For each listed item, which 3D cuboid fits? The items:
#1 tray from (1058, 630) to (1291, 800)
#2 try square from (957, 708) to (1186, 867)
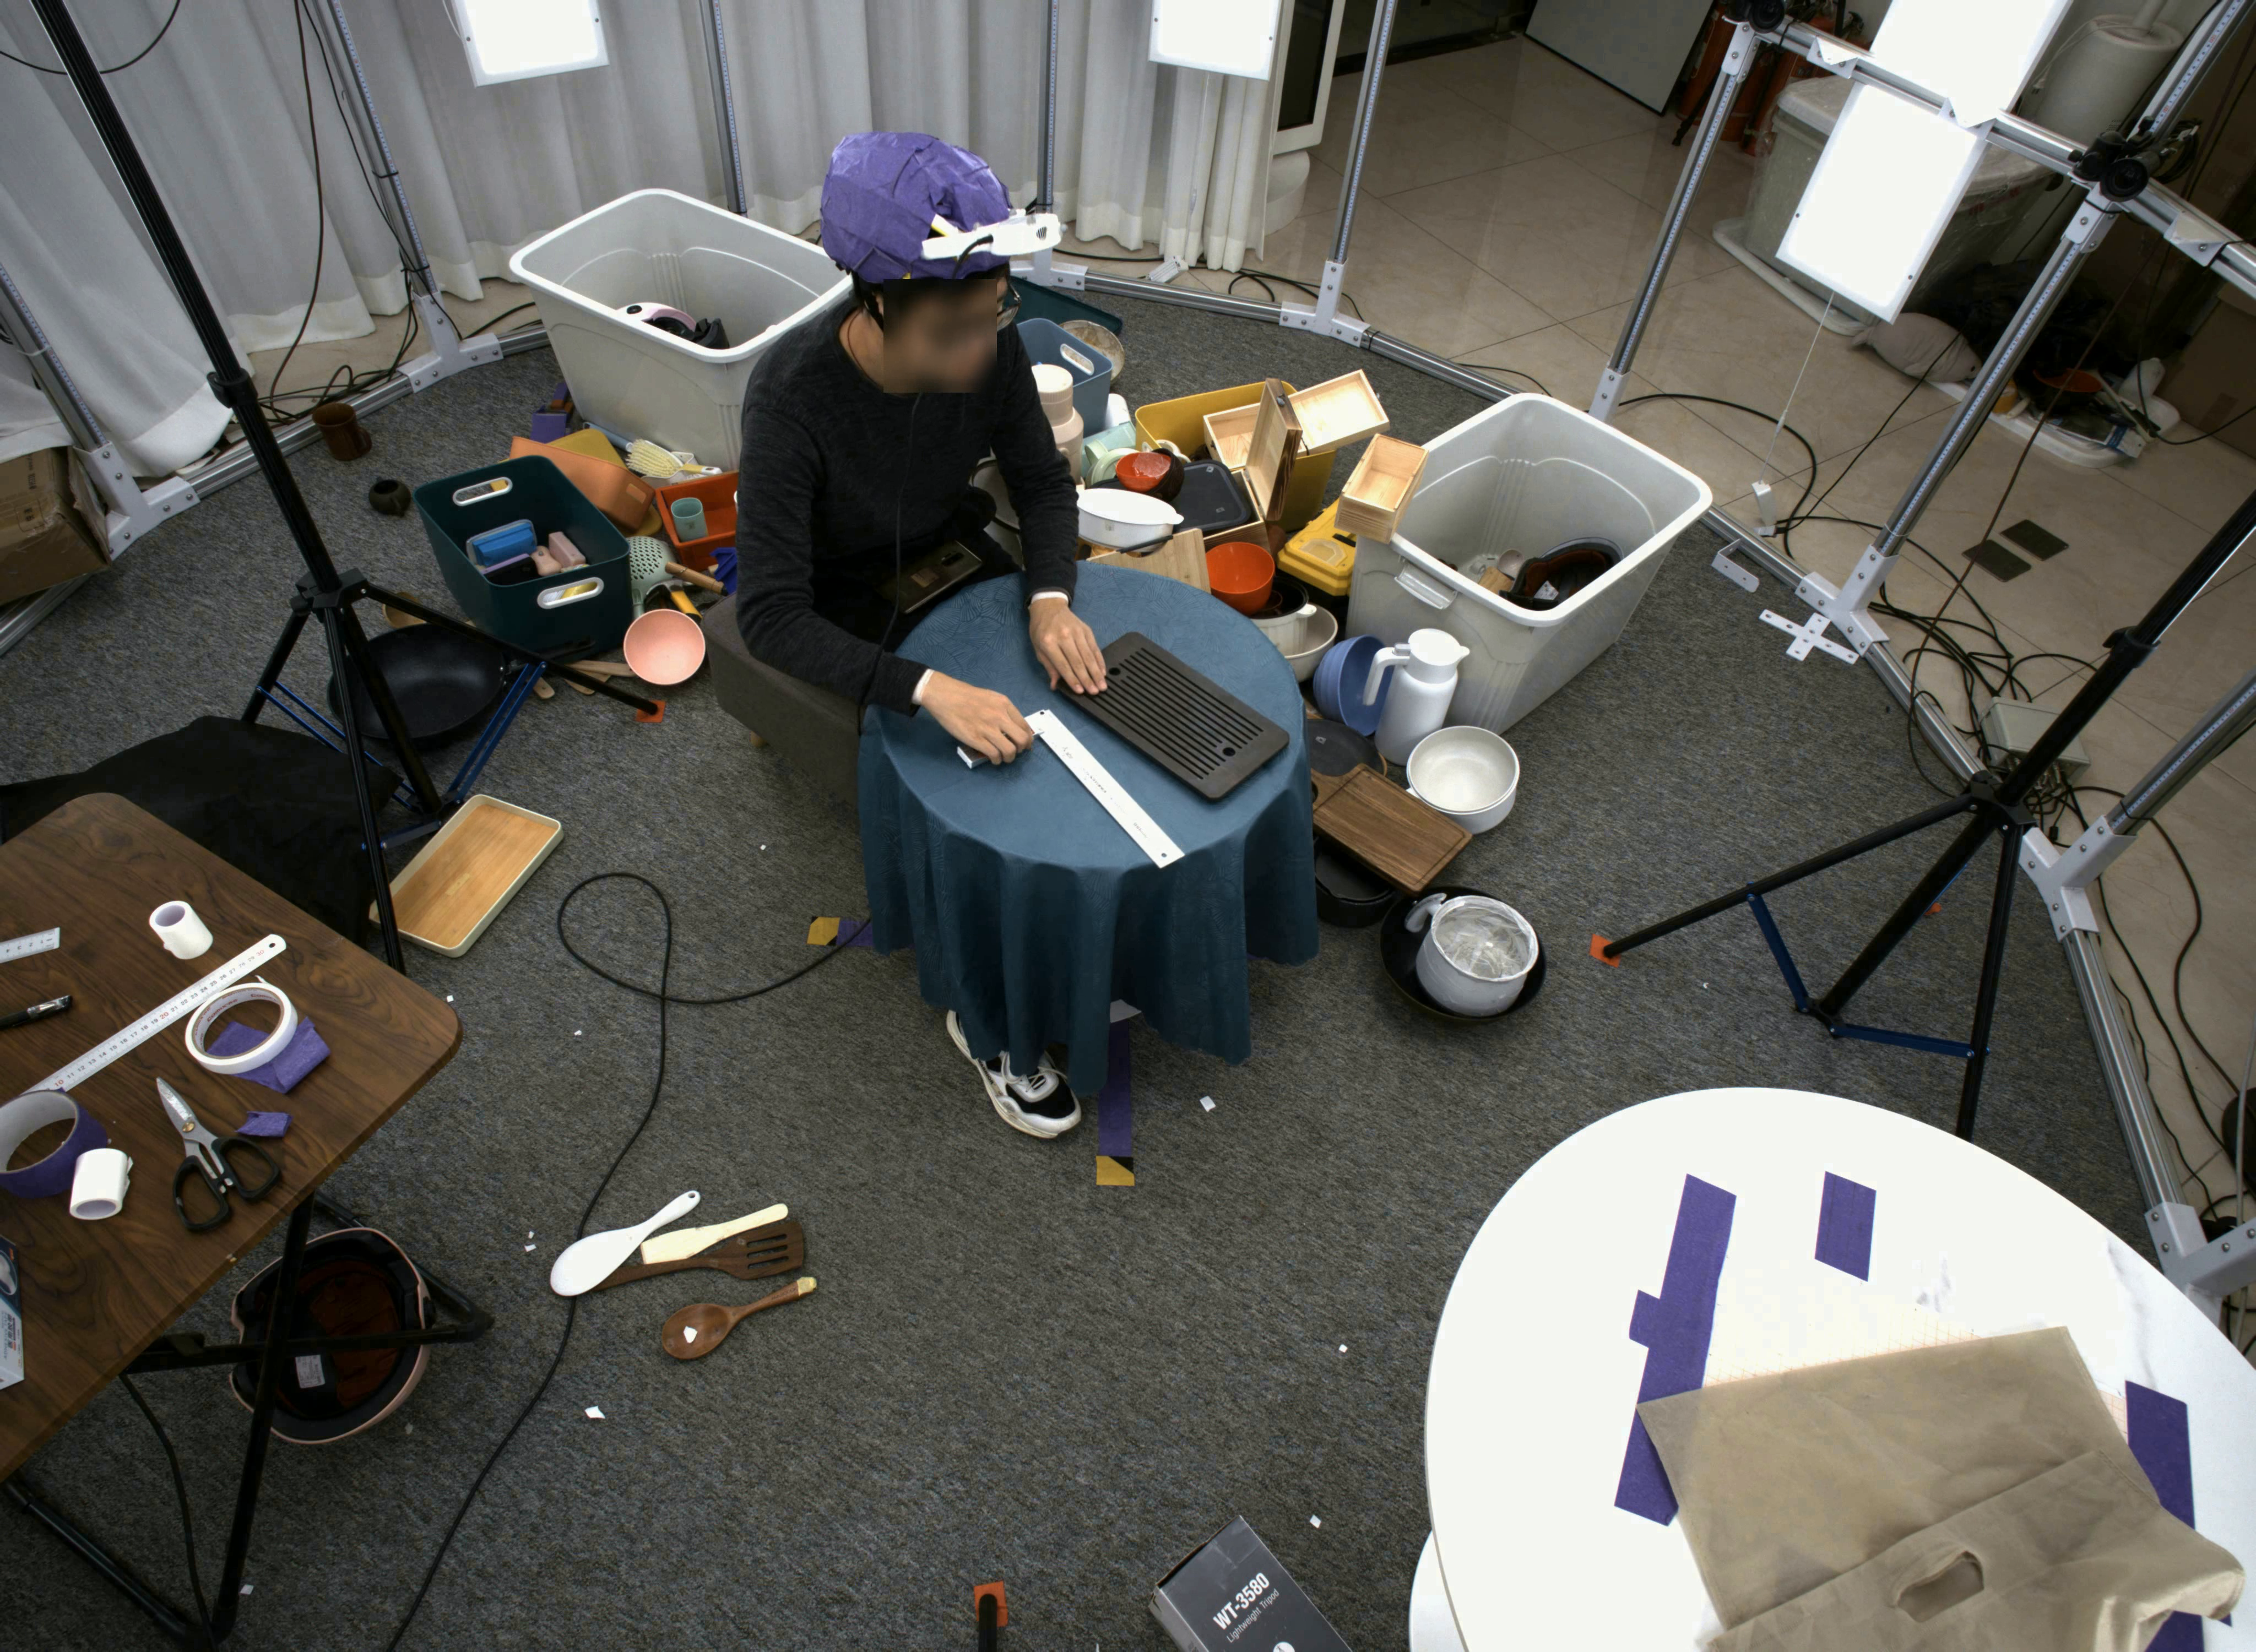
[{"bbox_3d":[0.063,-0.159,1.800,0.310,0.018,0.172,37,57,25],"label":"tray"},{"bbox_3d":[-0.079,-0.034,1.688,0.153,0.015,0.319,-27,57,-26],"label":"try square"}]
